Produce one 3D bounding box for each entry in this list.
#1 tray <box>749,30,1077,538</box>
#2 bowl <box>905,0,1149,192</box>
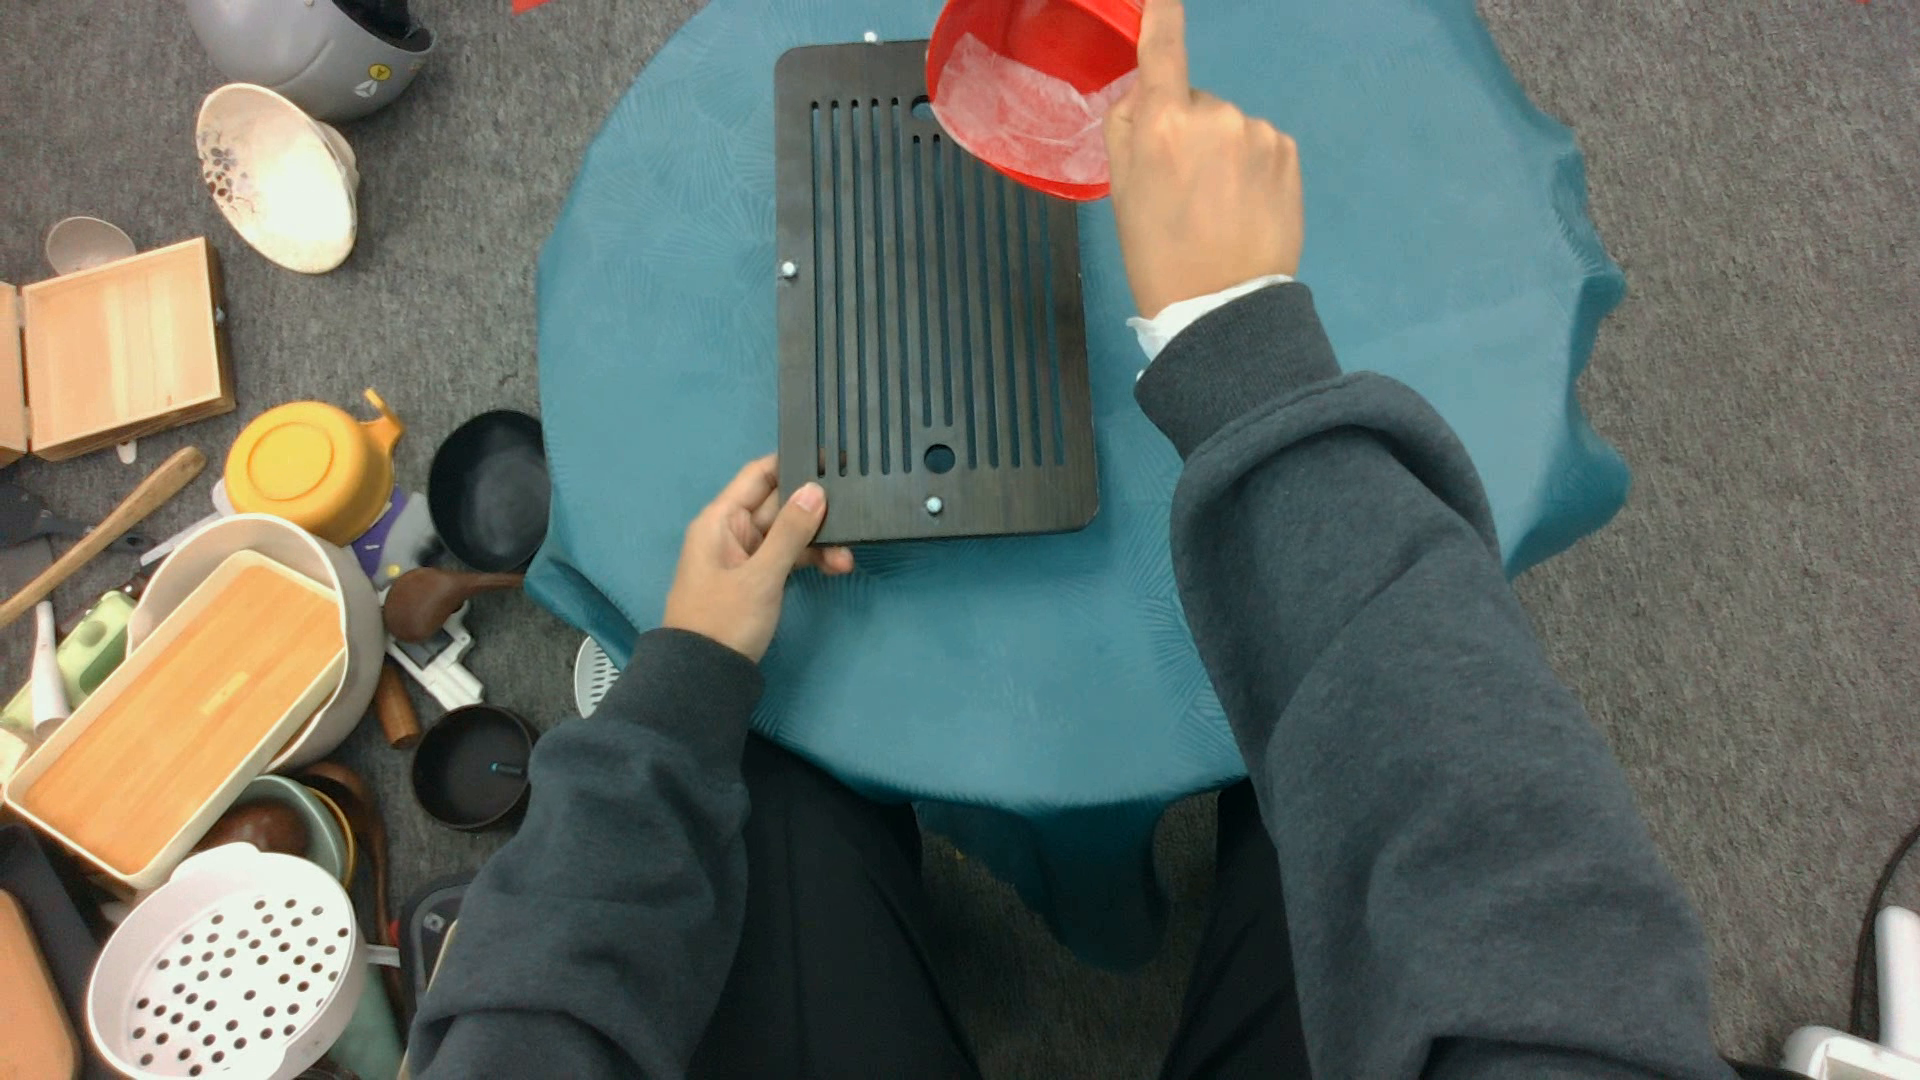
[{"bbox_3d":[-0.031,-0.150,0.766,0.170,0.018,0.306,-3,73,0],"label":"tray"},{"bbox_3d":[0.036,-0.220,0.625,0.119,0.118,0.051,20,60,11],"label":"bowl"}]
